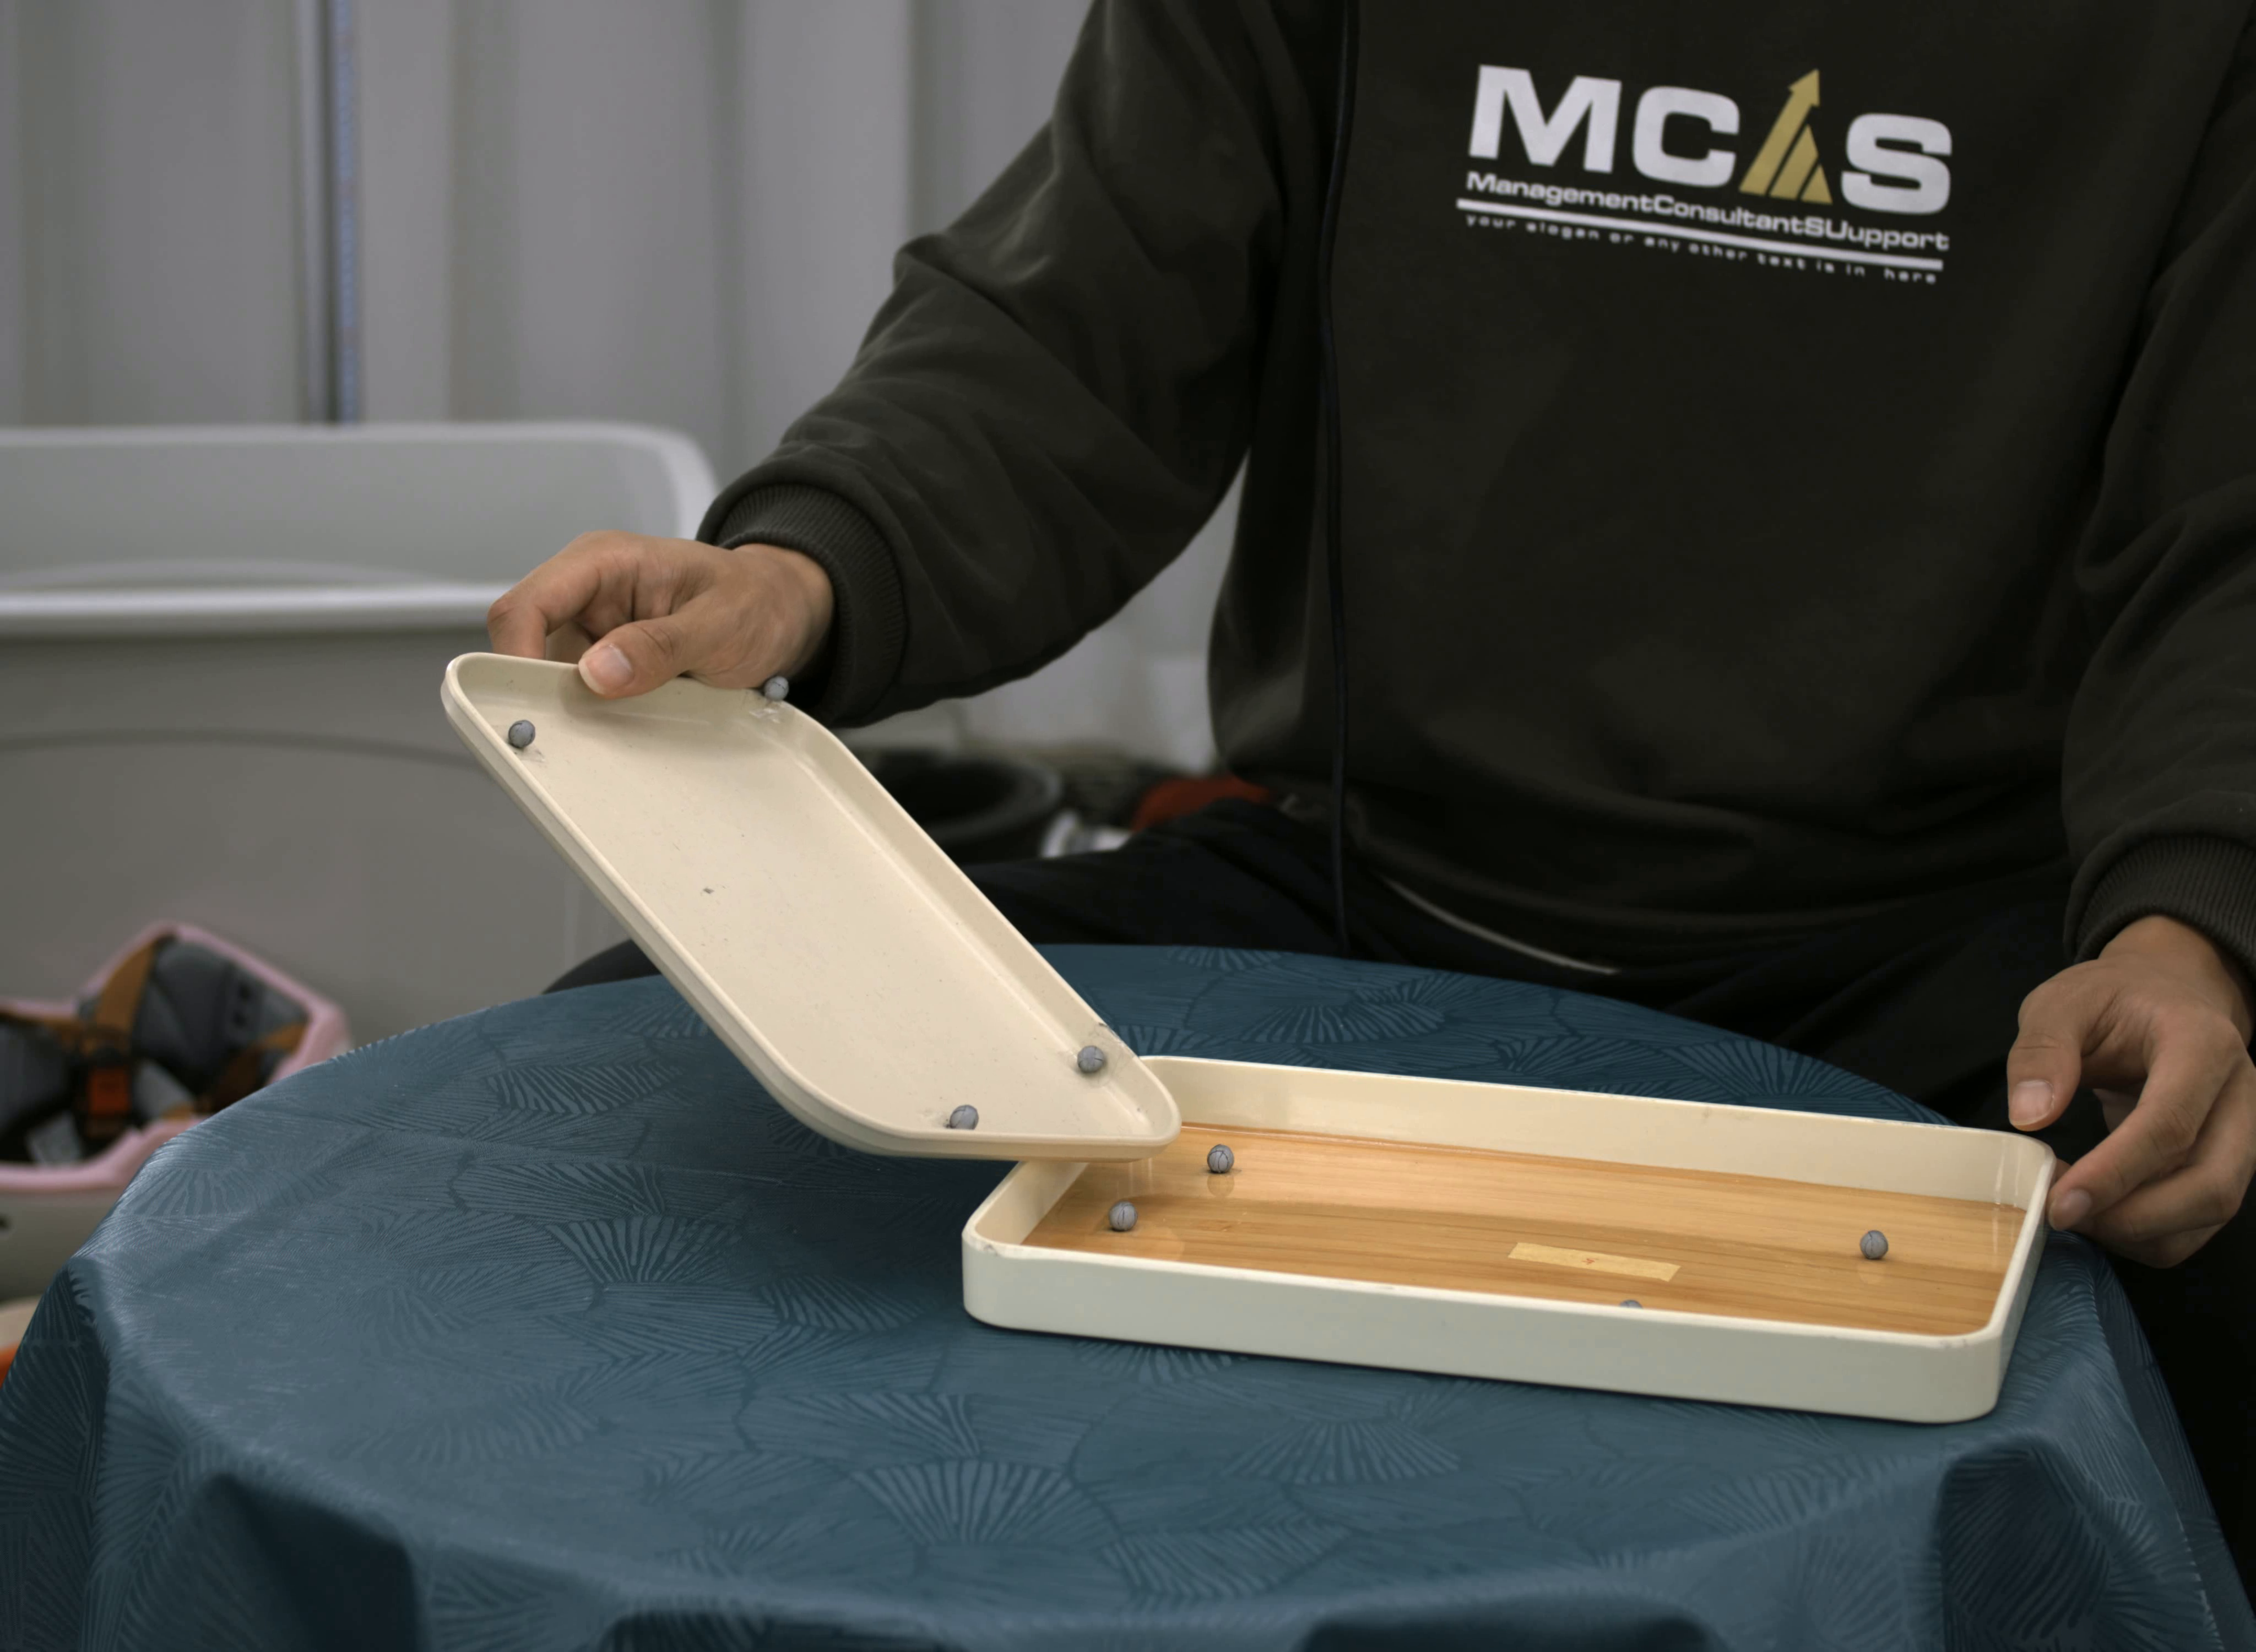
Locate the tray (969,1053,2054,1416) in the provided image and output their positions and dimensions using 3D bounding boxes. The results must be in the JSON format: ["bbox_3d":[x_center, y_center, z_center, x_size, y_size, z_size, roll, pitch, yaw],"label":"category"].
[{"bbox_3d":[0.118,0.119,1.566,0.298,0.027,0.191,5,16,13],"label":"tray"}]

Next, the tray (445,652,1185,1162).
[{"bbox_3d":[-0.098,0.027,1.619,0.173,0.017,0.236,6,33,-50],"label":"tray"}]
